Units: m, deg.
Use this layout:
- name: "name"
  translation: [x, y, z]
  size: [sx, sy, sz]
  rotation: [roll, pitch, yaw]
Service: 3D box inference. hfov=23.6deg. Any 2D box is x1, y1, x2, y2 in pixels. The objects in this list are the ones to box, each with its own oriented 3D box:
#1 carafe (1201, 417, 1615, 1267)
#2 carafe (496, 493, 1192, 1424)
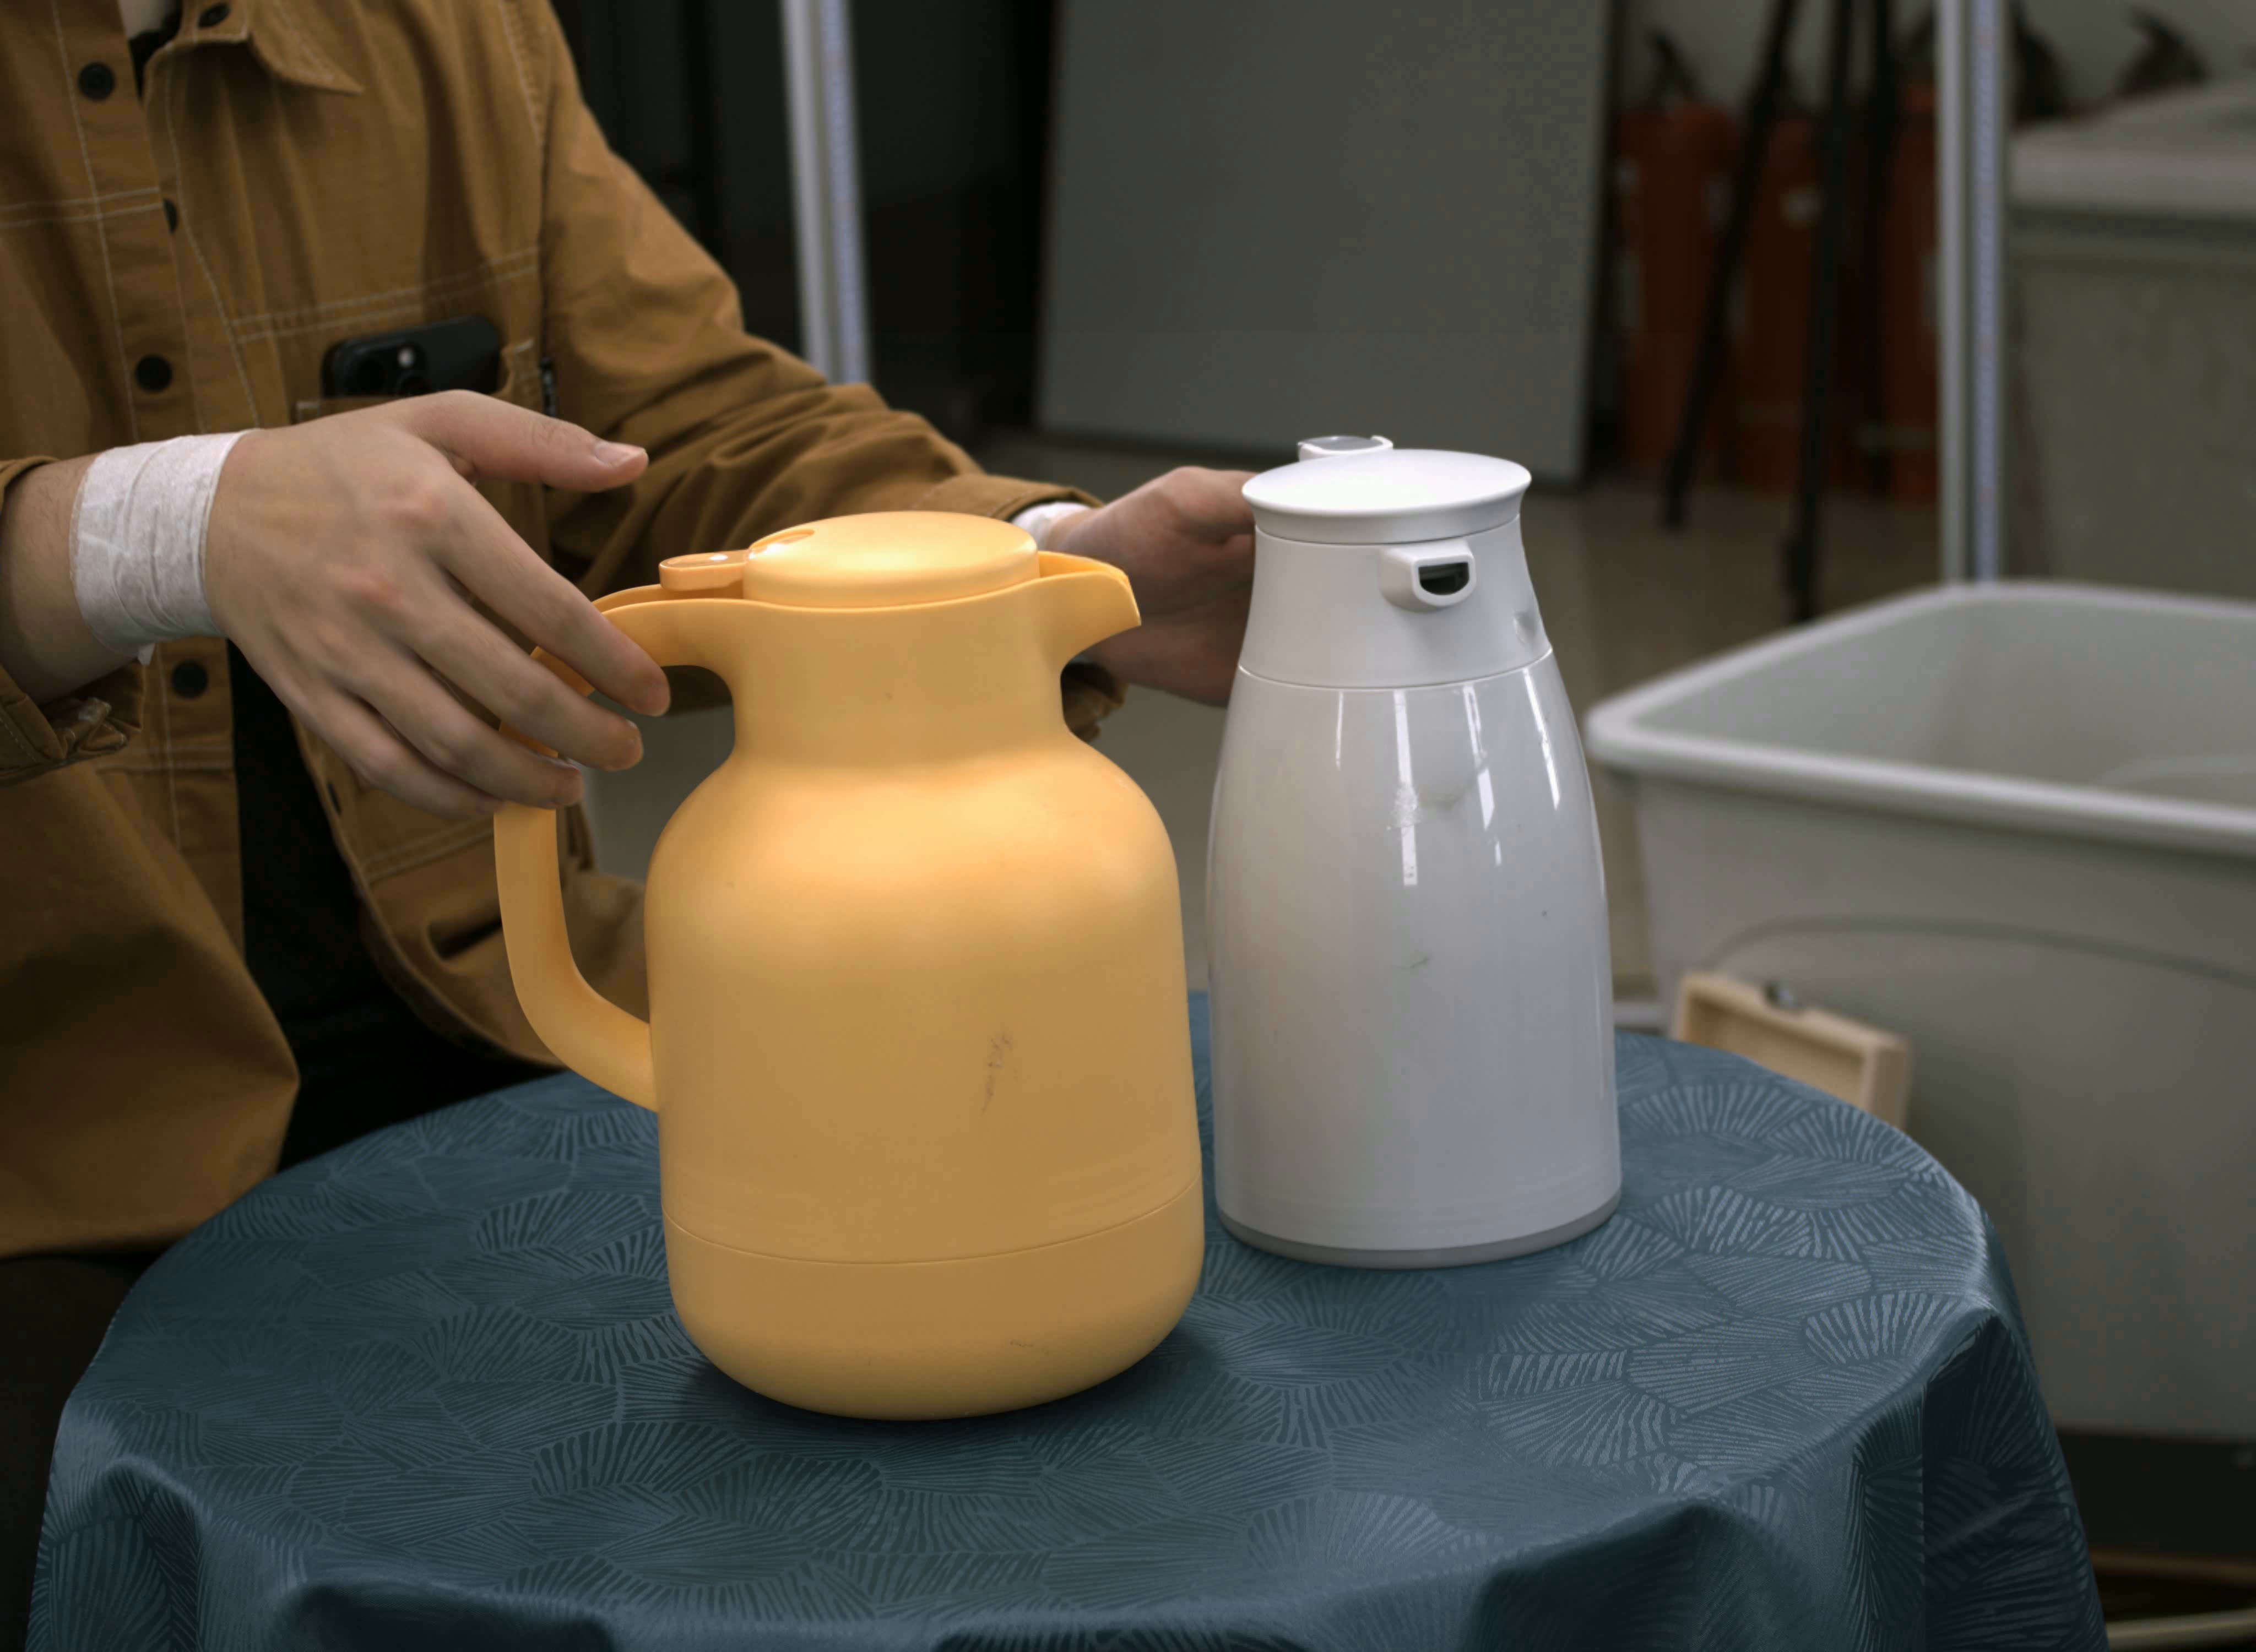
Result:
- name: "carafe"
  translation: [0.080, -0.003, 1.729]
  size: [0.130, 0.251, 0.169]
  rotation: [-7, 13, -12]
- name: "carafe"
  translation: [-0.084, 0.036, 1.600]
  size: [0.200, 0.263, 0.163]
  rotation: [-2, 11, 2]
